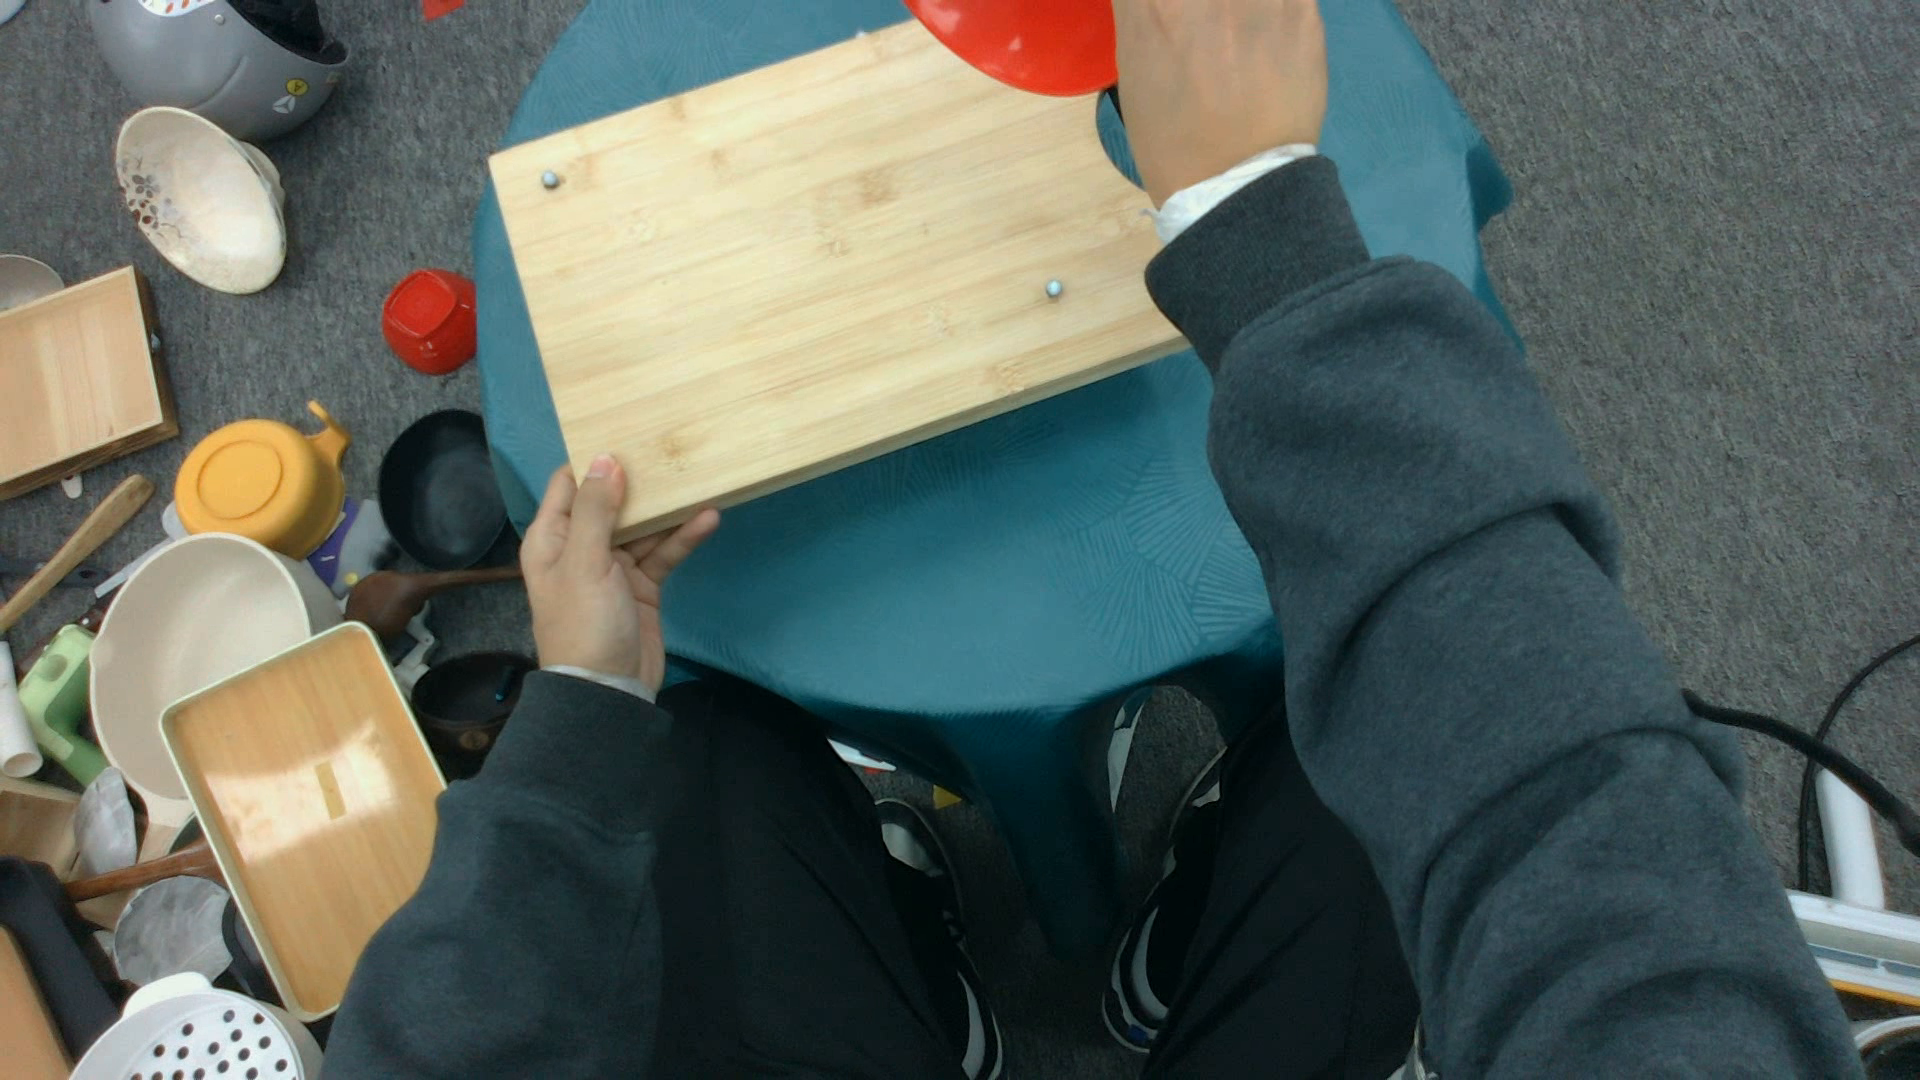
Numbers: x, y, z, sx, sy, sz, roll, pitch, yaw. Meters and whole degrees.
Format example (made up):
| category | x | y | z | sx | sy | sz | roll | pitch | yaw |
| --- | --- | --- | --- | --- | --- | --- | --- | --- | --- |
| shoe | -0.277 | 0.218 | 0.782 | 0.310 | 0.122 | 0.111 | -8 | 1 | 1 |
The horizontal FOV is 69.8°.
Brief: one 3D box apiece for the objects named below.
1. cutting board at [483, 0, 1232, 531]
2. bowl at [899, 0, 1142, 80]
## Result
| category | x | y | z | sx | sy | sz | roll | pitch | yaw |
| --- | --- | --- | --- | --- | --- | --- | --- | --- | --- |
| cutting board | -0.065 | -0.167 | 0.733 | 0.349 | 0.023 | 0.251 | -20 | 70 | -5 |
| bowl | 0.033 | -0.279 | 0.571 | 0.148 | 0.147 | 0.105 | 39 | 75 | 15 |
